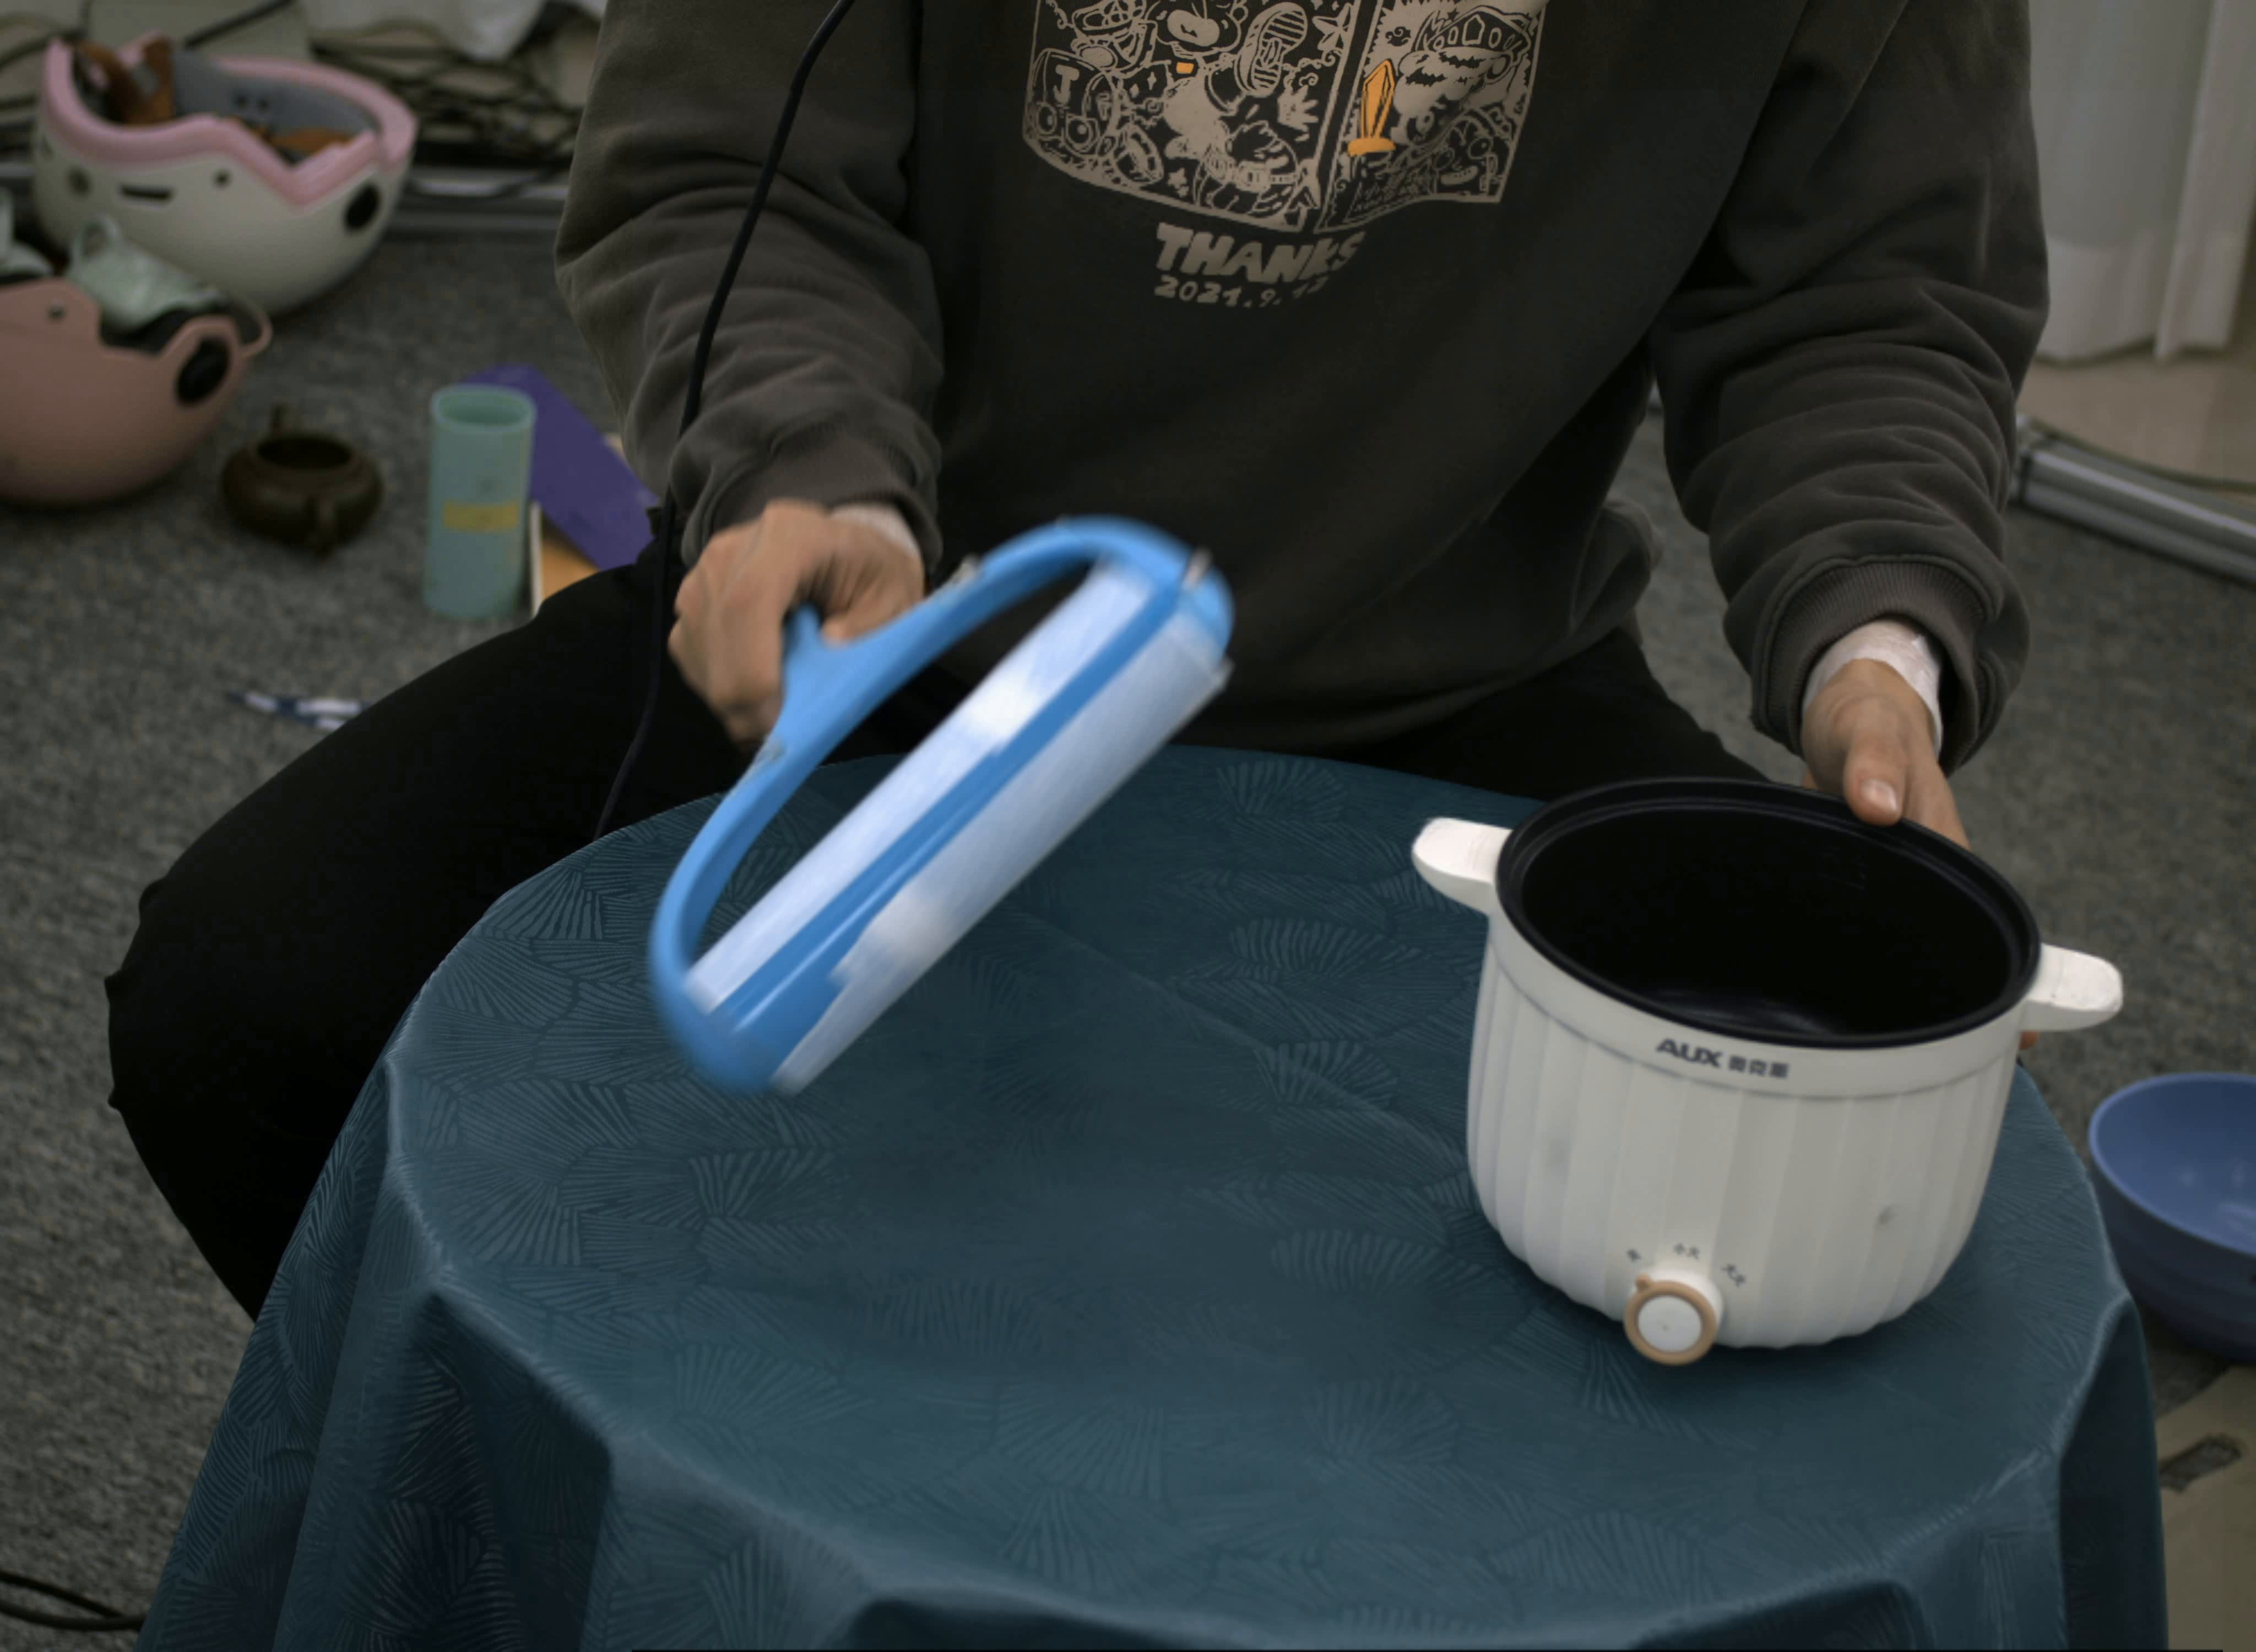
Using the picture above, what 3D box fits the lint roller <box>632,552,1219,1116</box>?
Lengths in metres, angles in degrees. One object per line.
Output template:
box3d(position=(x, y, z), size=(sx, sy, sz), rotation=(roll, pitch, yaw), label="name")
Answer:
box3d(position=(-0.091, -0.022, 1.751), size=(0.067, 0.229, 0.182), rotation=(45, 0, -44), label="lint roller")

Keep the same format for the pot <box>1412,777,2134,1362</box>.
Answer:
box3d(position=(0.204, 0.086, 1.771), size=(0.240, 0.142, 0.191), rotation=(11, 23, 11), label="pot")
